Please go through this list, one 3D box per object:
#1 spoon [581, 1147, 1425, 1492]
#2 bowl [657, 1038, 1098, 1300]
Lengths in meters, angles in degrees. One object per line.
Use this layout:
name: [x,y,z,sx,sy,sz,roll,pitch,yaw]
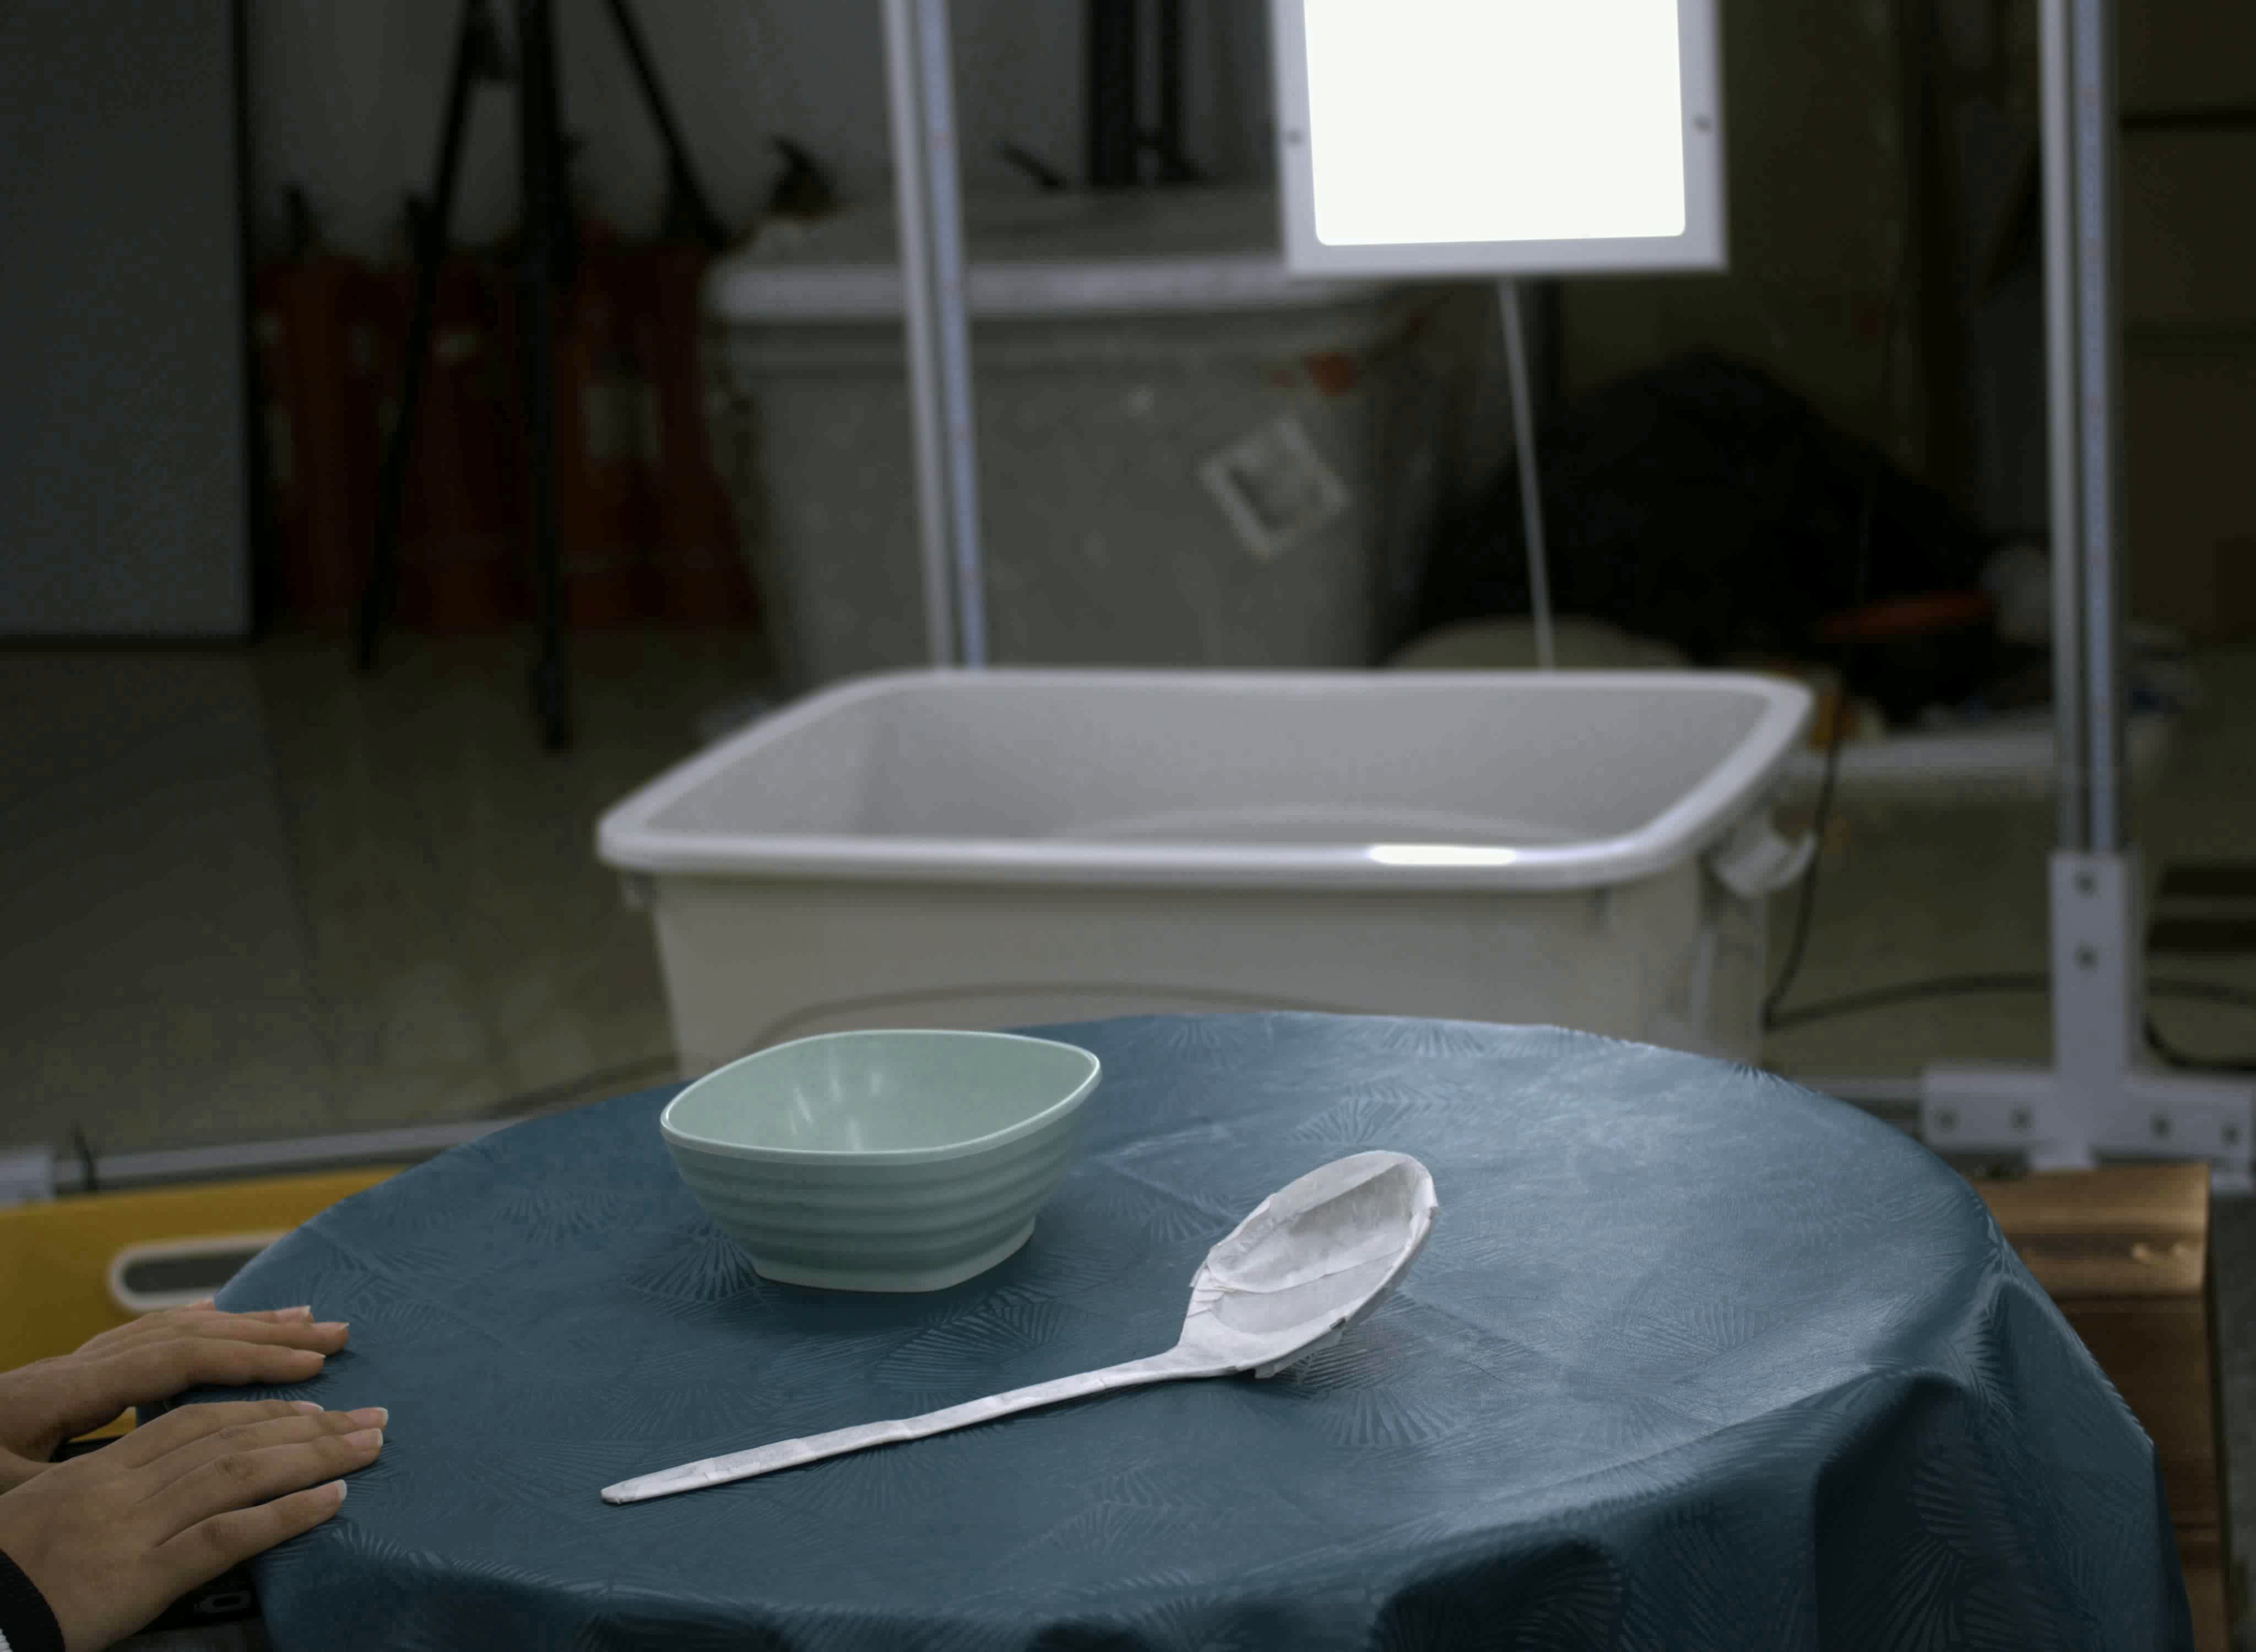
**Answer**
spoon: [-0.038,0.150,1.696,0.273,0.059,0.102,-9,10,-17]
bowl: [-0.082,0.118,1.851,0.151,0.059,0.151,-4,13,0]
